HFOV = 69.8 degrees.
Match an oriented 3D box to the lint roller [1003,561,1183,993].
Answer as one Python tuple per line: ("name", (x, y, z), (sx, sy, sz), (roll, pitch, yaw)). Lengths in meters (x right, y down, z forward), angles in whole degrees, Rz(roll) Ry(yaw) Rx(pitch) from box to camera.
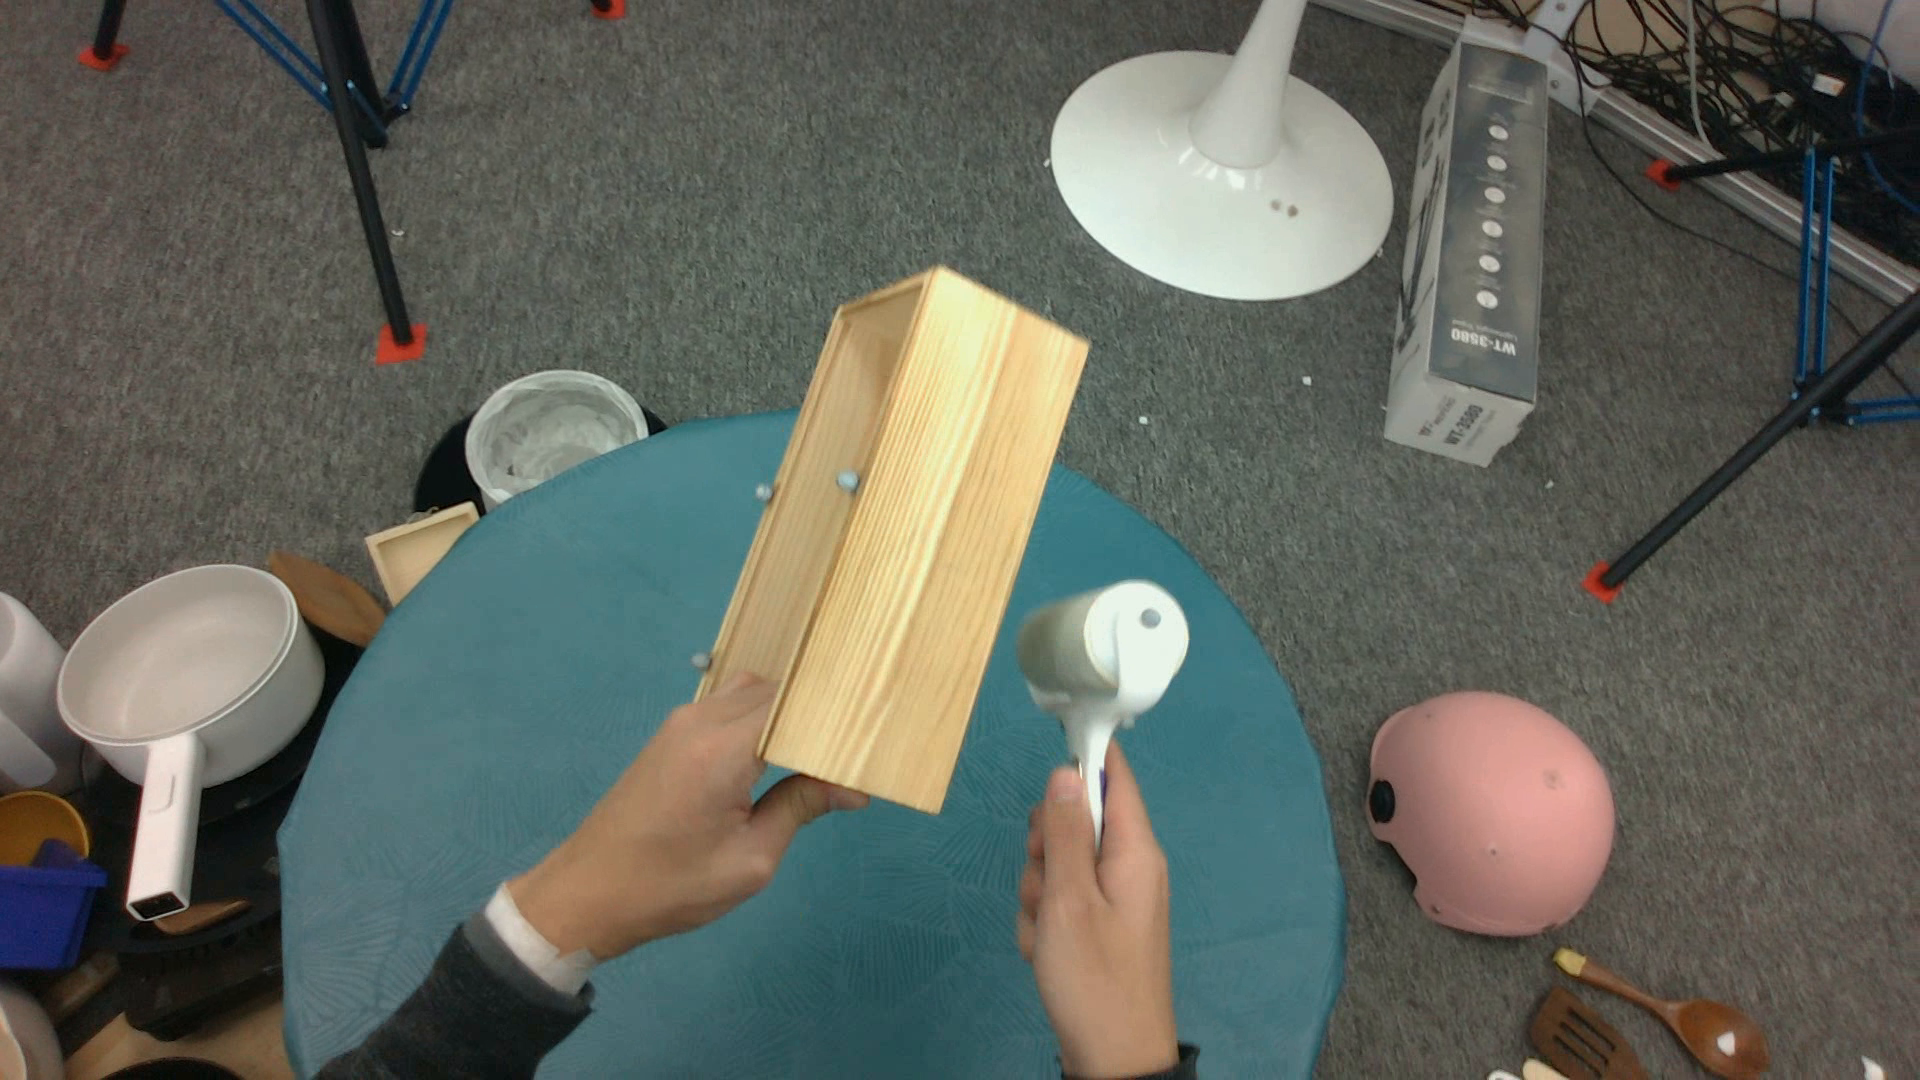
("lint roller", (0.059, 0.102, 0.597), (0.050, 0.132, 0.181), (-1, 82, -18))

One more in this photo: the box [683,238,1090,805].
("box", (-0.033, -0.007, 0.587), (0.080, 0.107, 0.212), (23, 79, -25))
